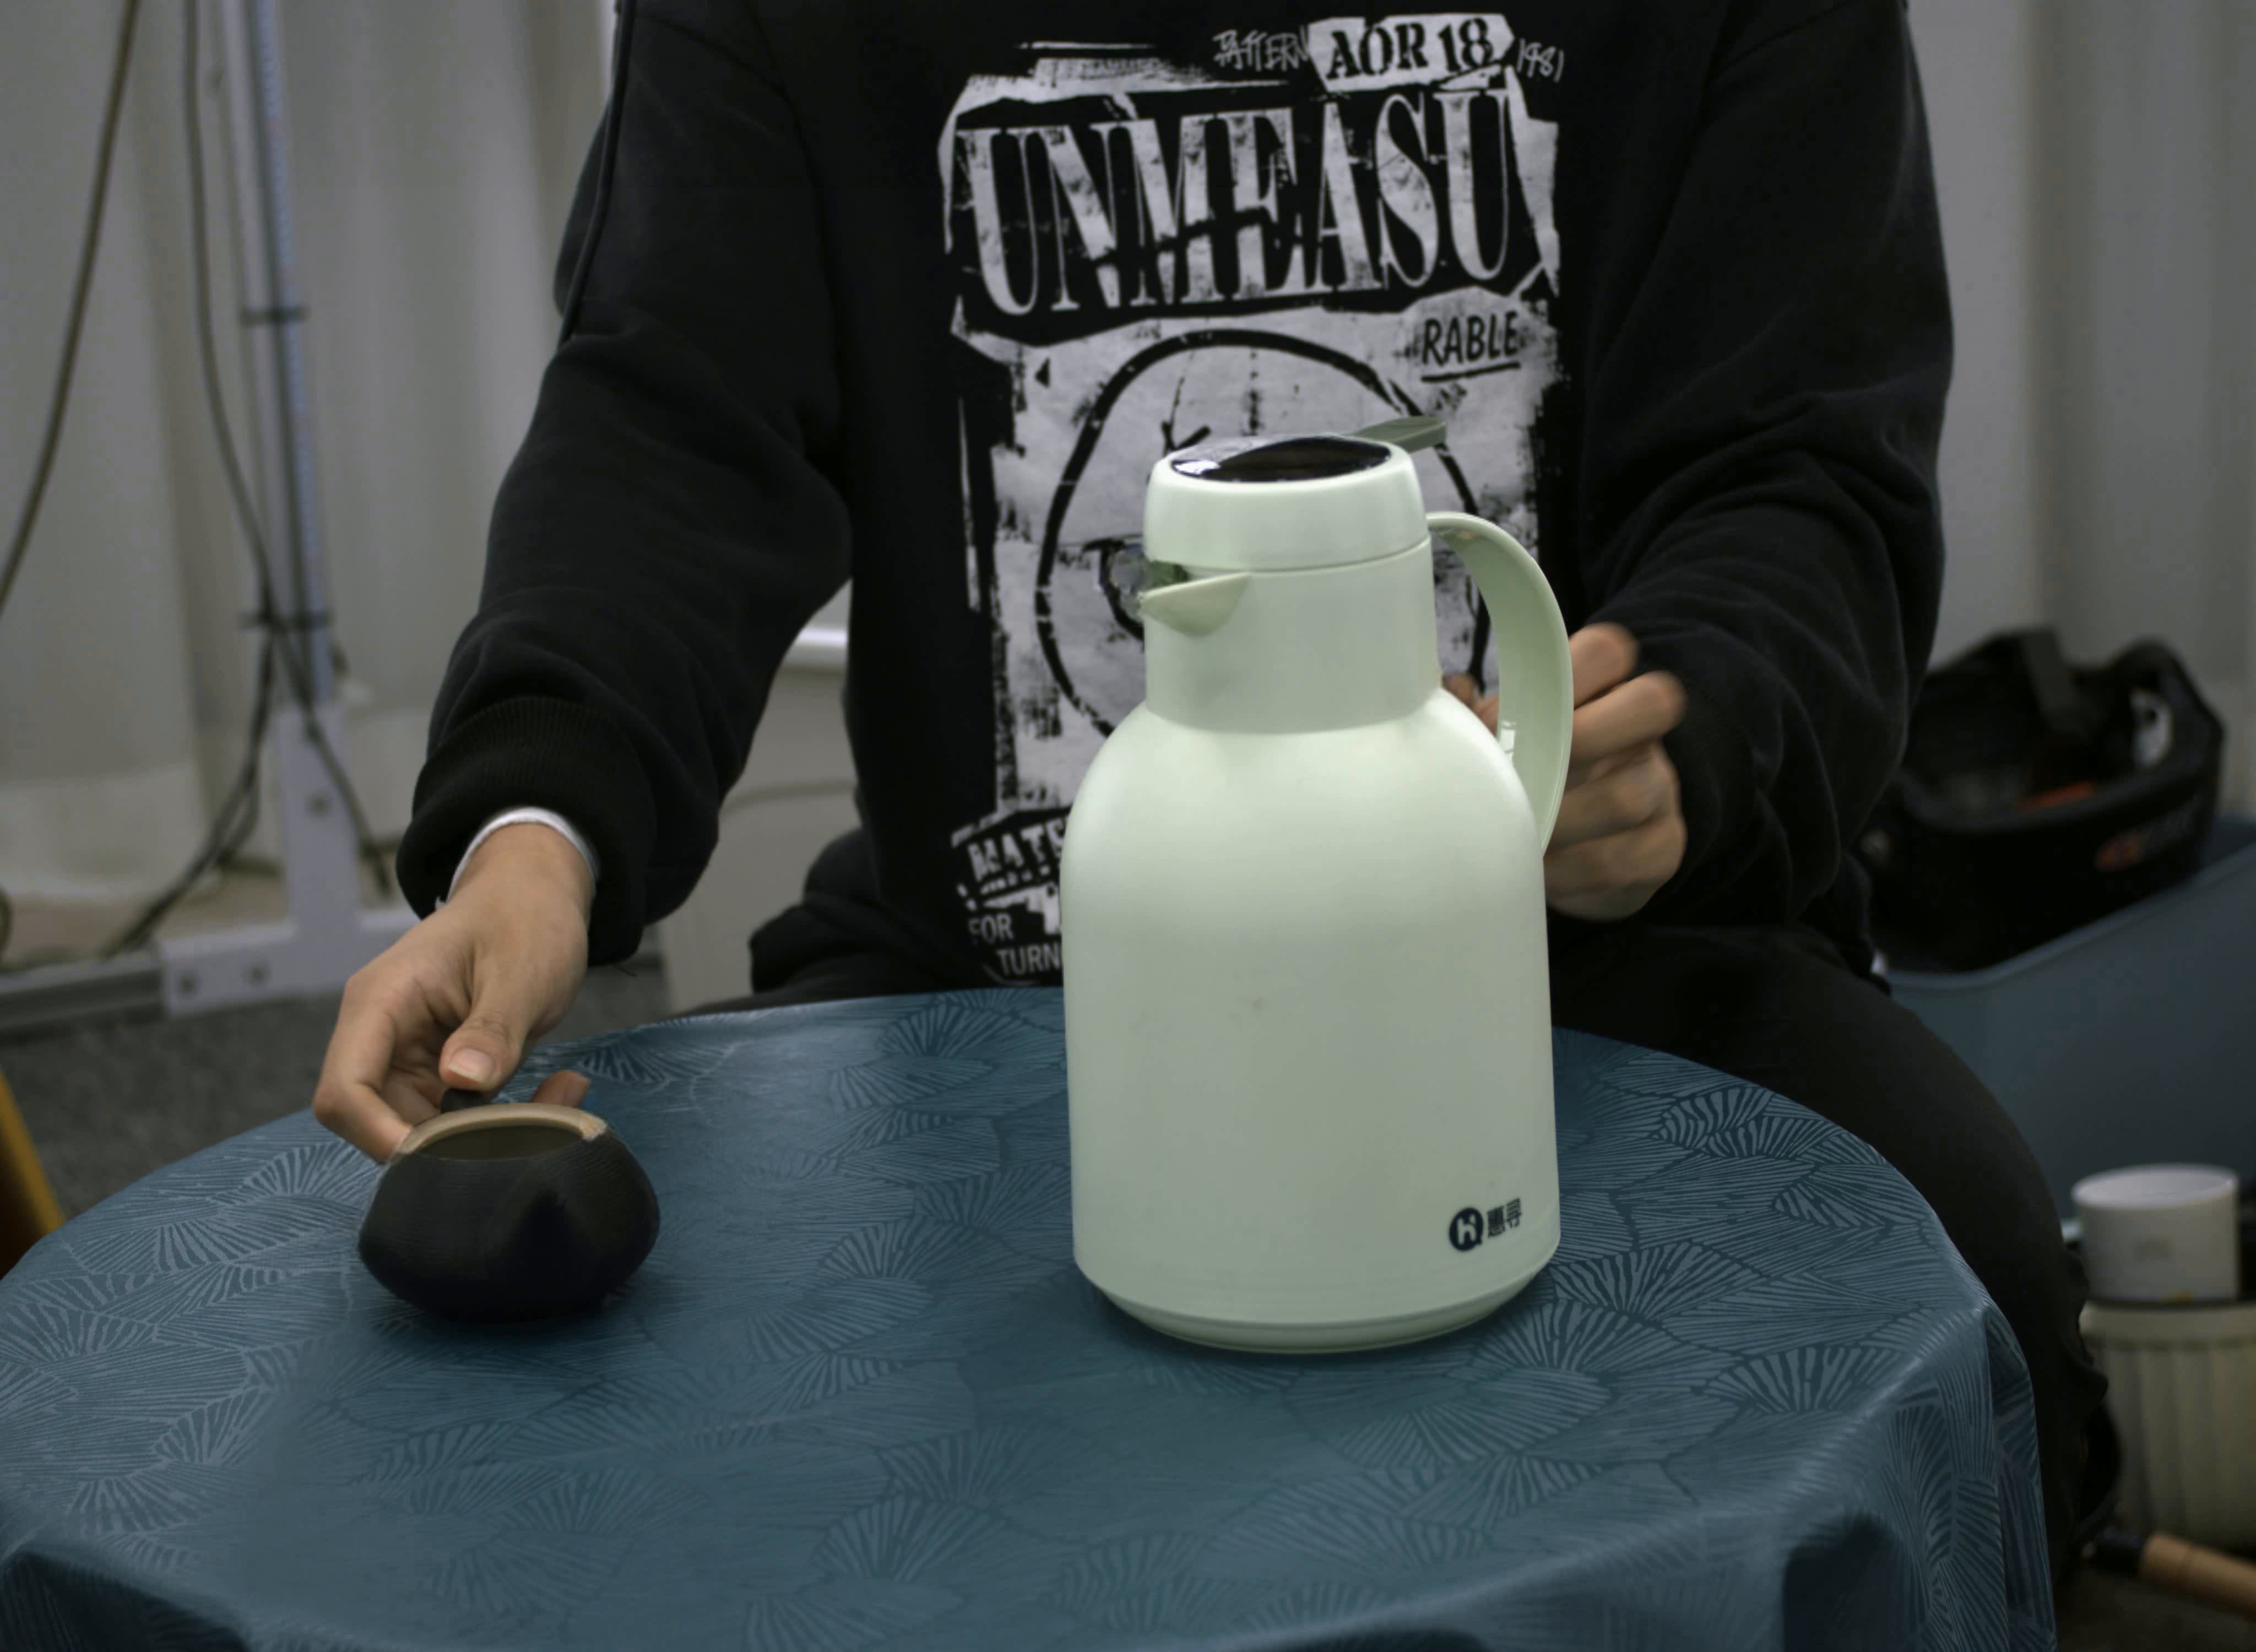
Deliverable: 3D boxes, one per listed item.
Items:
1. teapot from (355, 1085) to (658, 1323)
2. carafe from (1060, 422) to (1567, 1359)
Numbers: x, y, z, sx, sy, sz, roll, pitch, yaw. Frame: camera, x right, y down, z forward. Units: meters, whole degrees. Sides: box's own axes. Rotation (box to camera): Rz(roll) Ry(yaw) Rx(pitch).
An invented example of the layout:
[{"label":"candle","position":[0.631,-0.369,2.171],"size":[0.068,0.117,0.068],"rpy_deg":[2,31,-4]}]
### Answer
[{"label":"teapot","position":[-0.187,0.116,1.641],"size":[0.090,0.053,0.134],"rpy_deg":[-6,15,-18]},{"label":"carafe","position":[0.060,0.014,1.601],"size":[0.145,0.256,0.186],"rpy_deg":[8,14,43]}]
